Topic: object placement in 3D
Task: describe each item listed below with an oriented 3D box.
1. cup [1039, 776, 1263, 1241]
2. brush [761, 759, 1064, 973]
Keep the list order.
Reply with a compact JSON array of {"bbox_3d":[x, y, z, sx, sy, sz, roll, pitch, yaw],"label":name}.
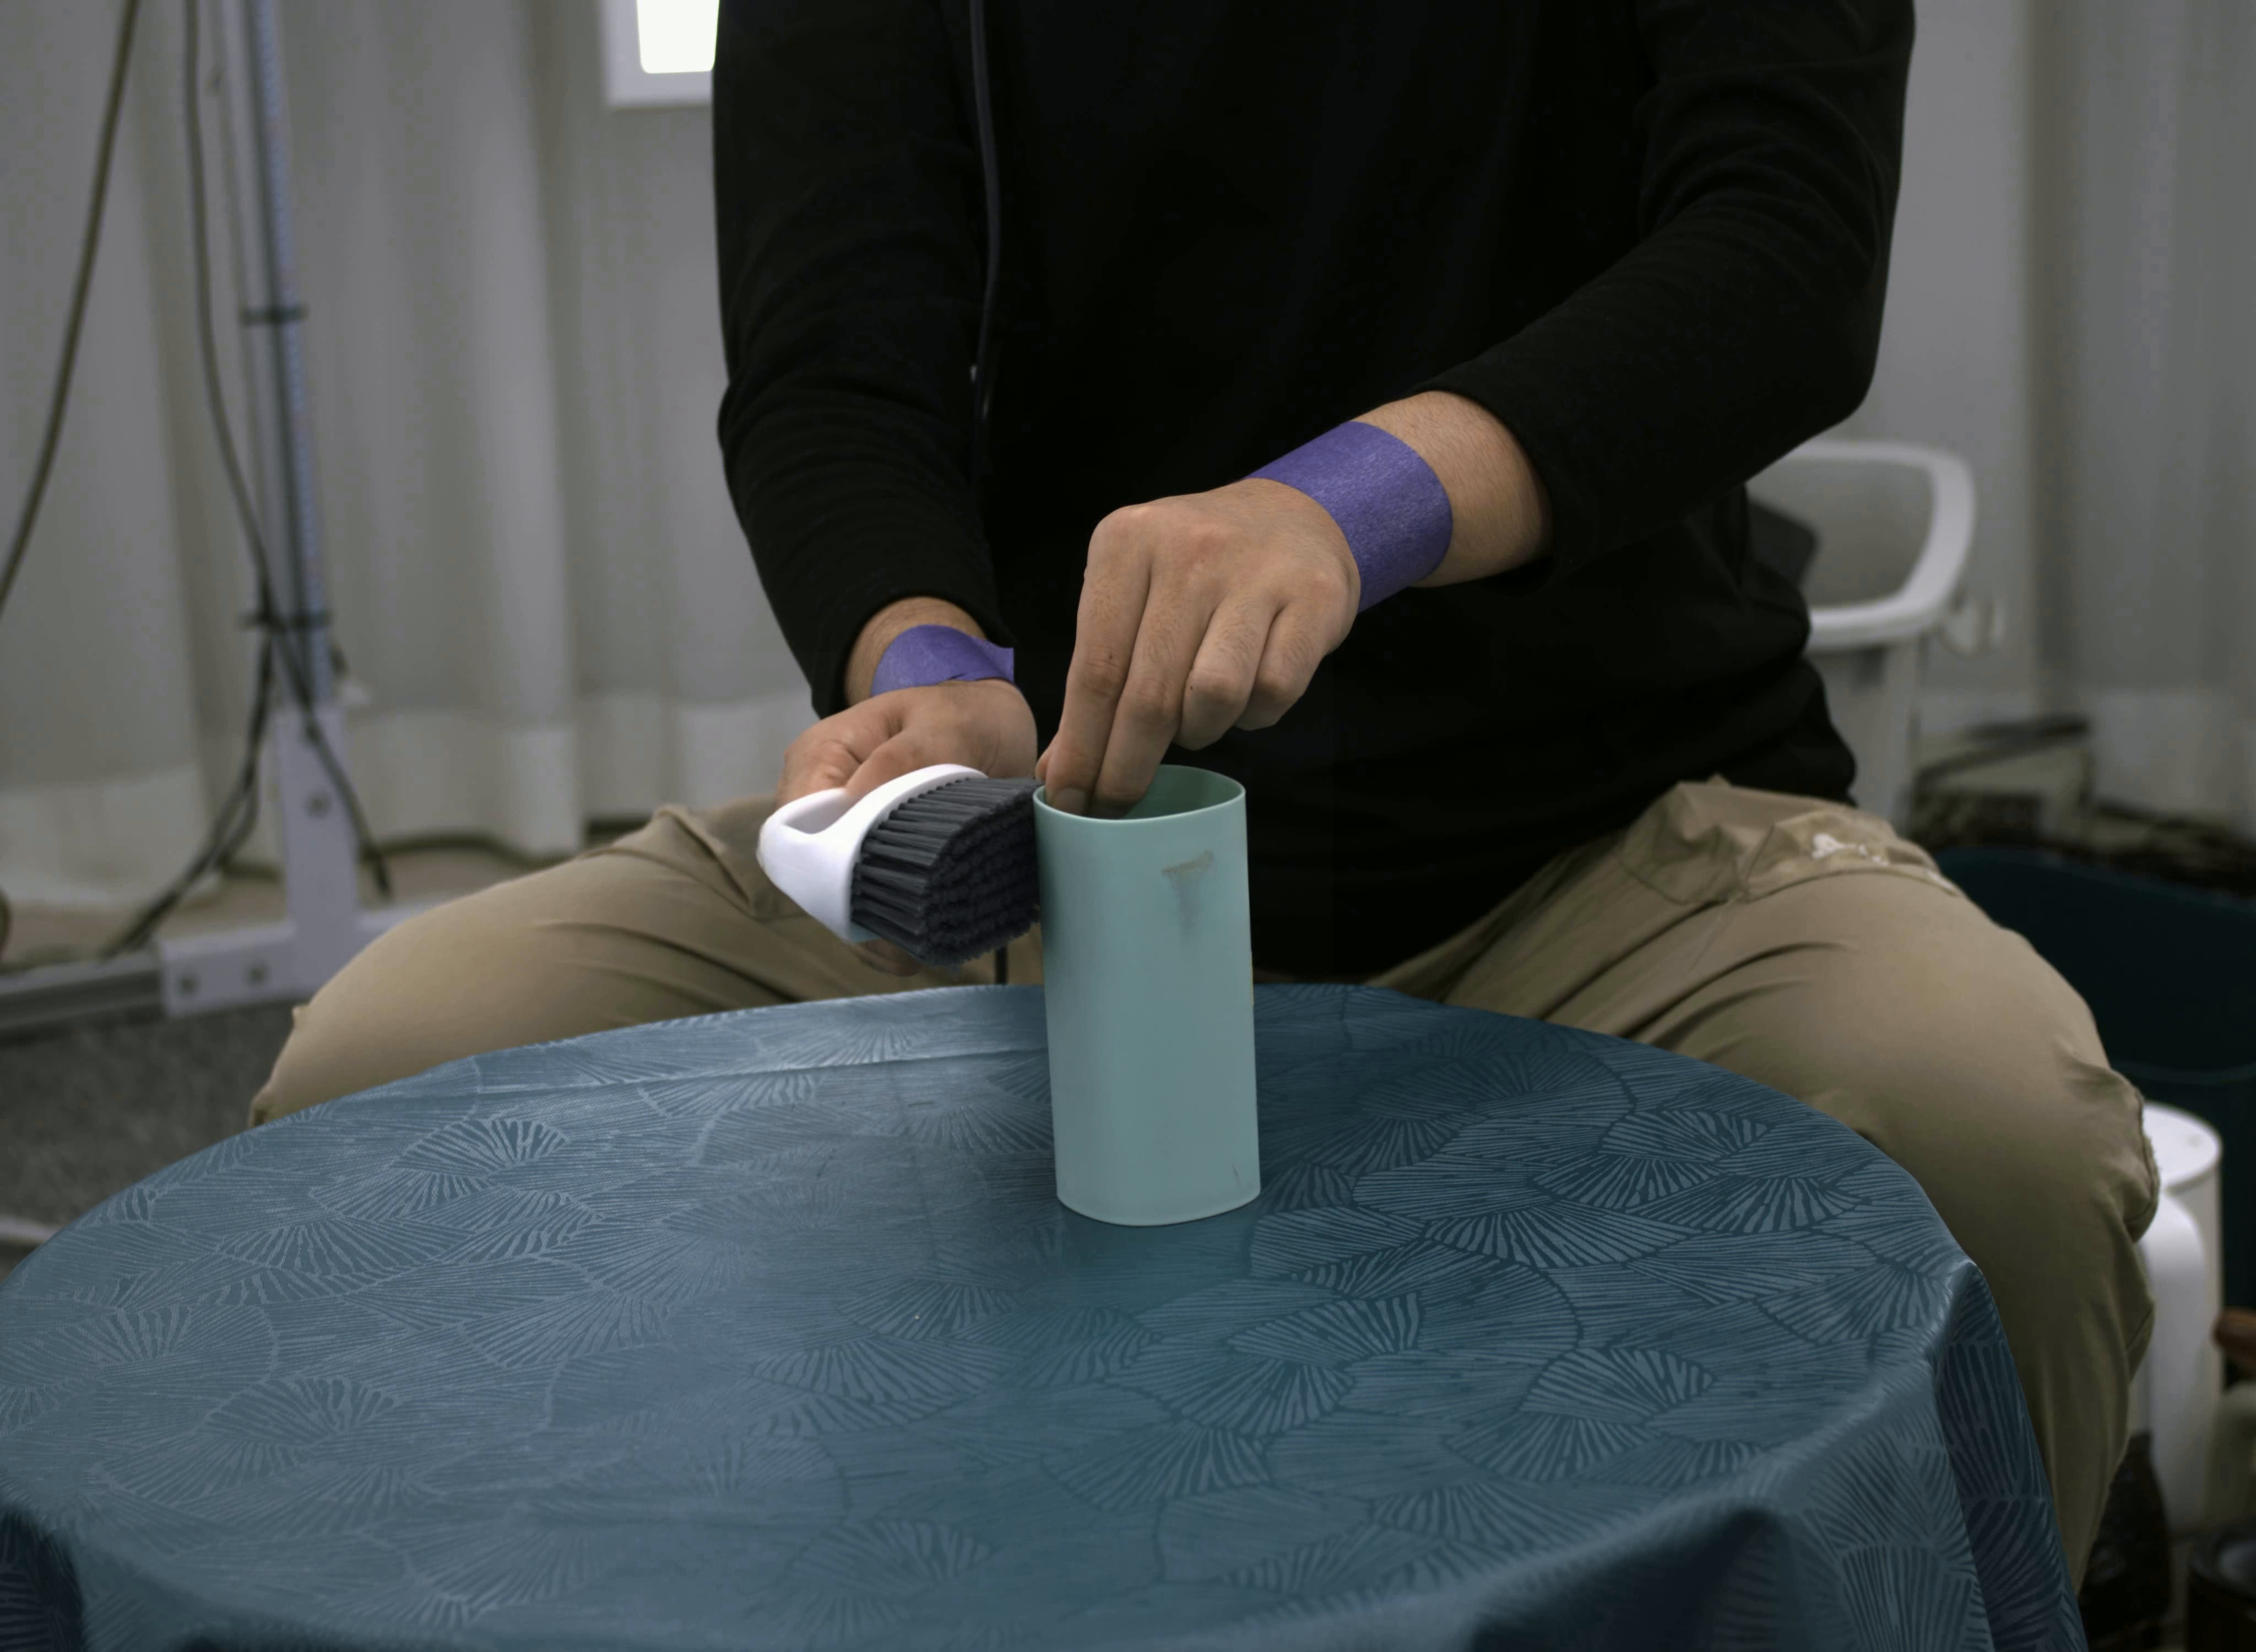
[{"bbox_3d":[0.006,0.056,1.698,0.066,0.132,0.067,-3,14,0],"label":"cup"},{"bbox_3d":[-0.072,0.007,1.690,0.073,0.050,0.099,15,20,23],"label":"brush"}]
